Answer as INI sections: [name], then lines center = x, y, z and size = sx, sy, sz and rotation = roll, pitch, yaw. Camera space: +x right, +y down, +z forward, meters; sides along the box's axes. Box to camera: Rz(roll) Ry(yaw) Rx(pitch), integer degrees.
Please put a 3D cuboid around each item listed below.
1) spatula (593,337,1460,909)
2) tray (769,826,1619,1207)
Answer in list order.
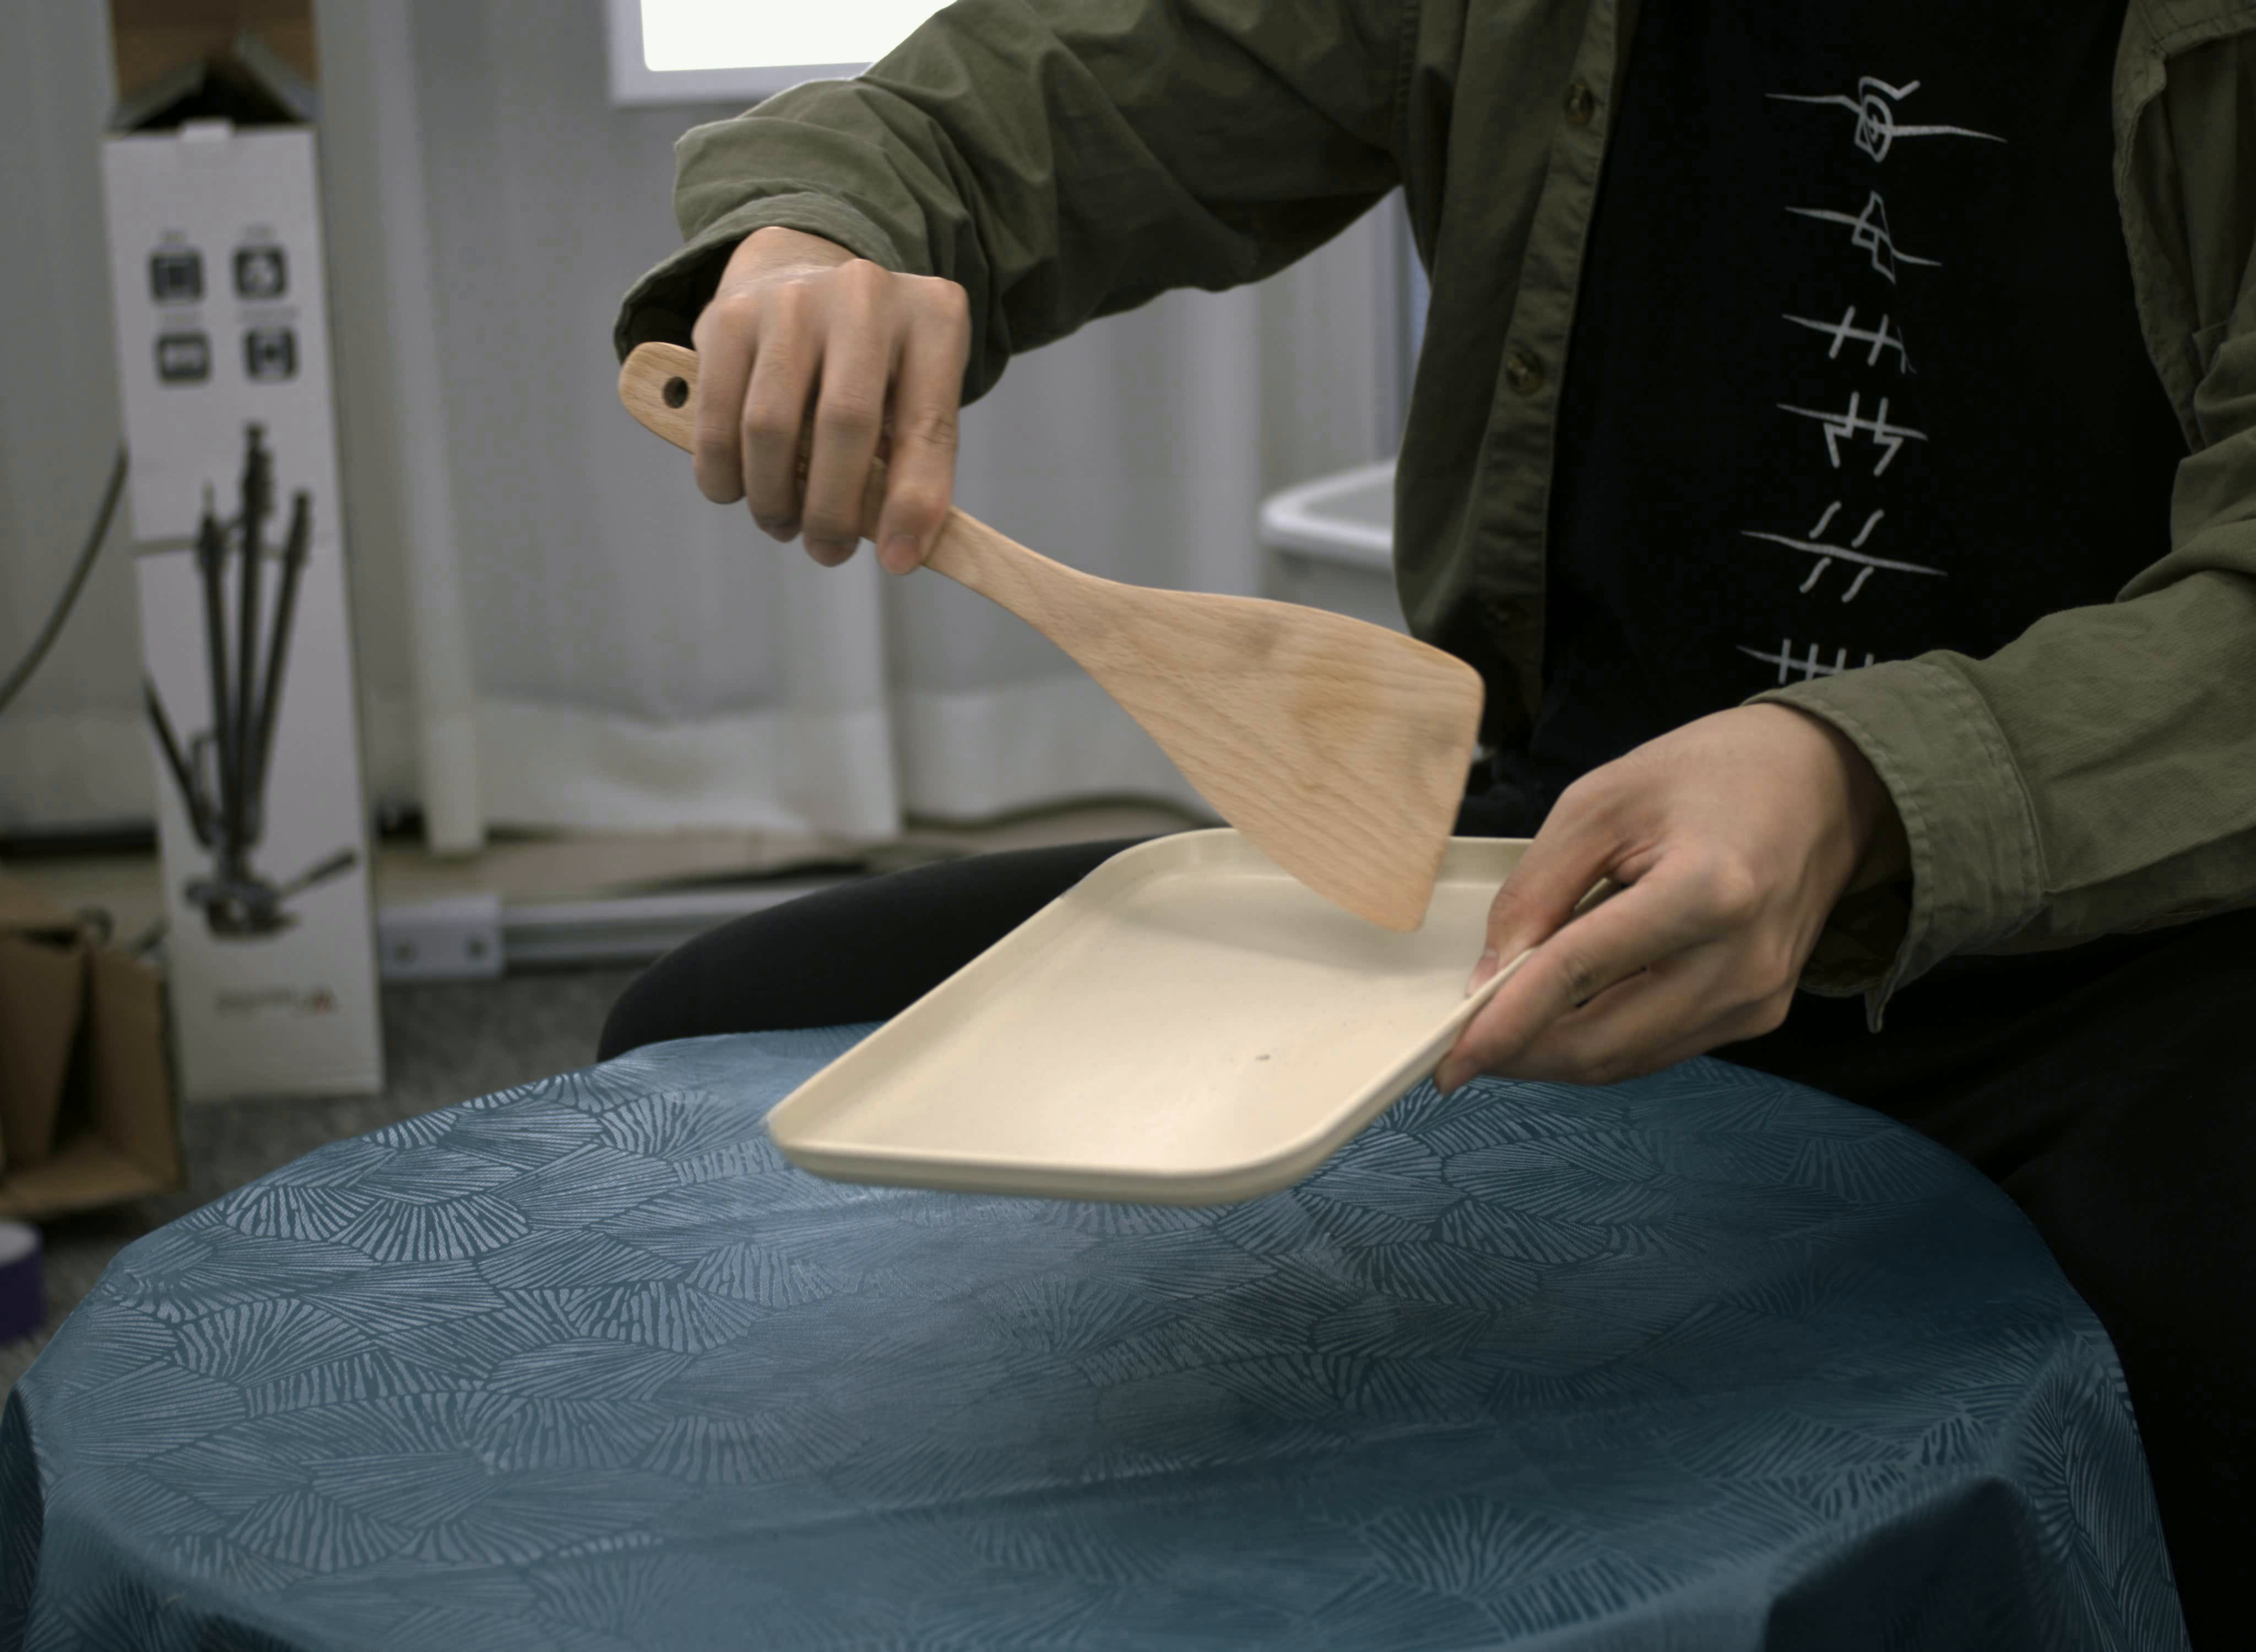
[spatula]
center = -0.036, -0.076, 1.618
size = 0.330, 0.080, 0.016
rotation = 28, 10, 28
[tray]
center = 0.022, 0.051, 1.528
size = 0.171, 0.017, 0.240
rotation = 3, 22, 31
